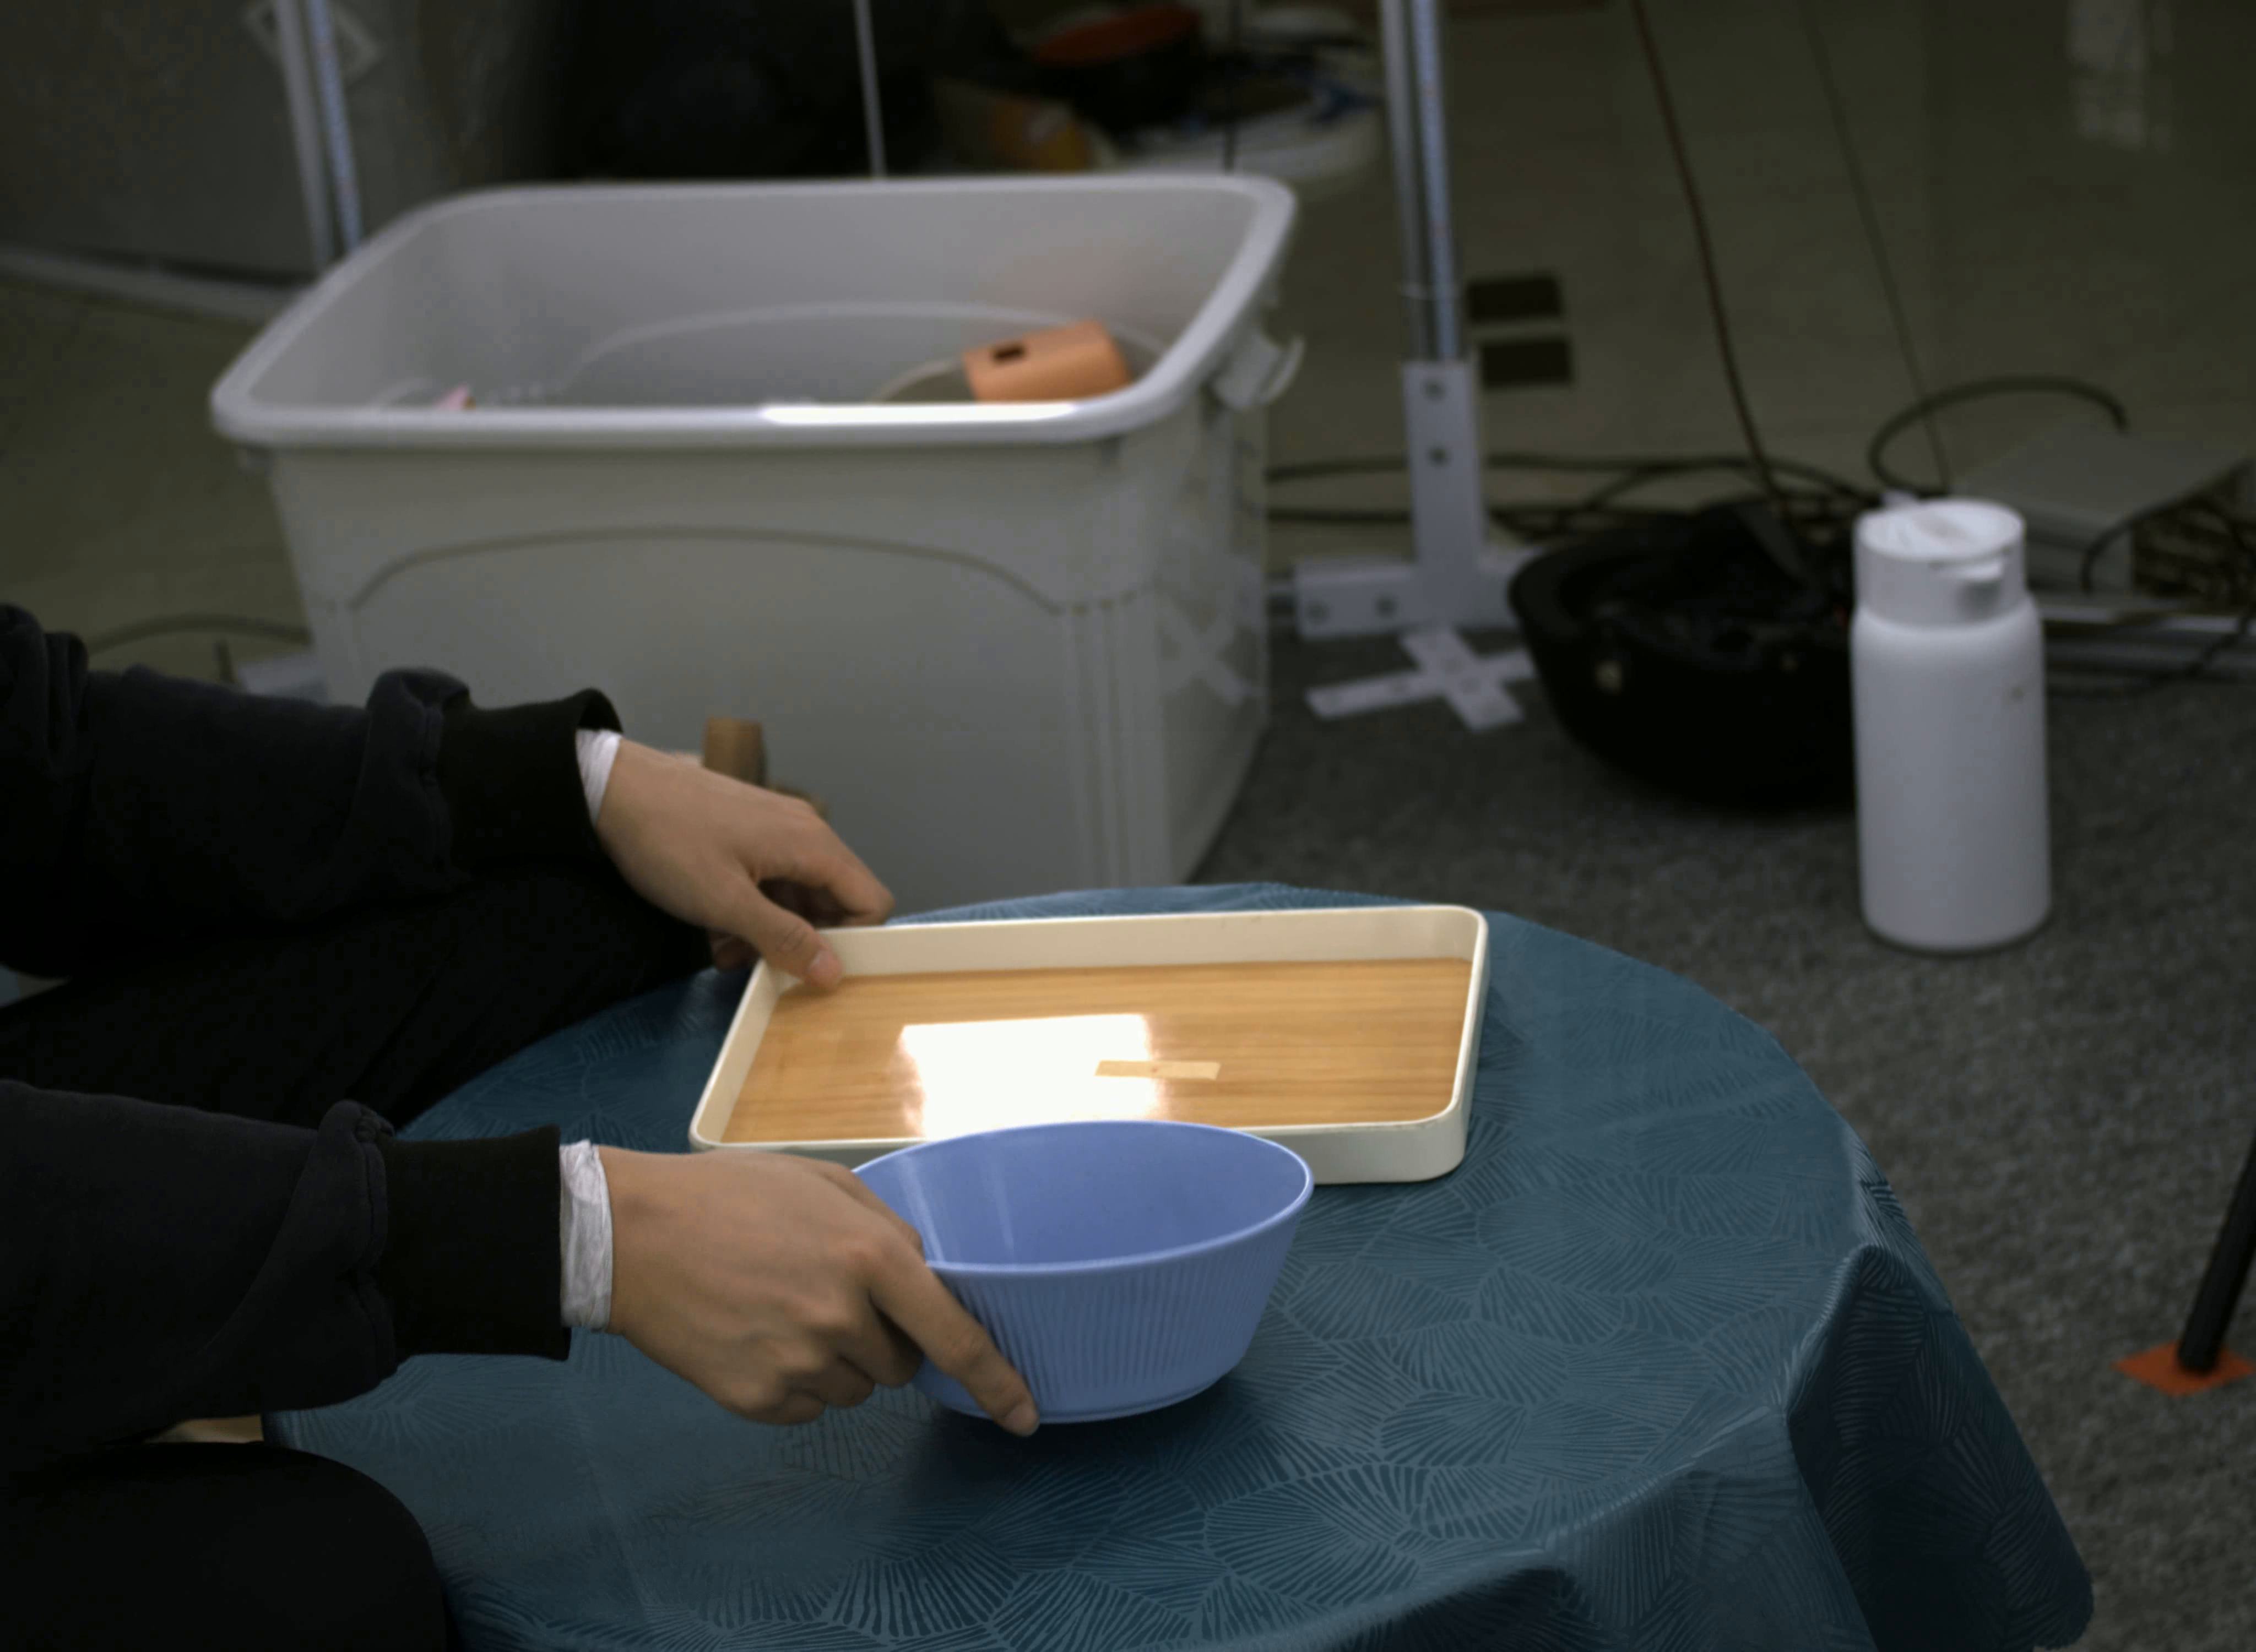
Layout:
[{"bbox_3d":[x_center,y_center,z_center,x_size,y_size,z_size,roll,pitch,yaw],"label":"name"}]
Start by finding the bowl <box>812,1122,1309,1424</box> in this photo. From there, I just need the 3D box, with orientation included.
[{"bbox_3d":[-0.023,0.161,2.005,0.176,0.071,0.174,-2,15,1],"label":"bowl"}]

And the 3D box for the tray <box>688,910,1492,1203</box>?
[{"bbox_3d":[-0.011,0.090,2.231,0.300,0.028,0.189,-2,25,9],"label":"tray"}]
